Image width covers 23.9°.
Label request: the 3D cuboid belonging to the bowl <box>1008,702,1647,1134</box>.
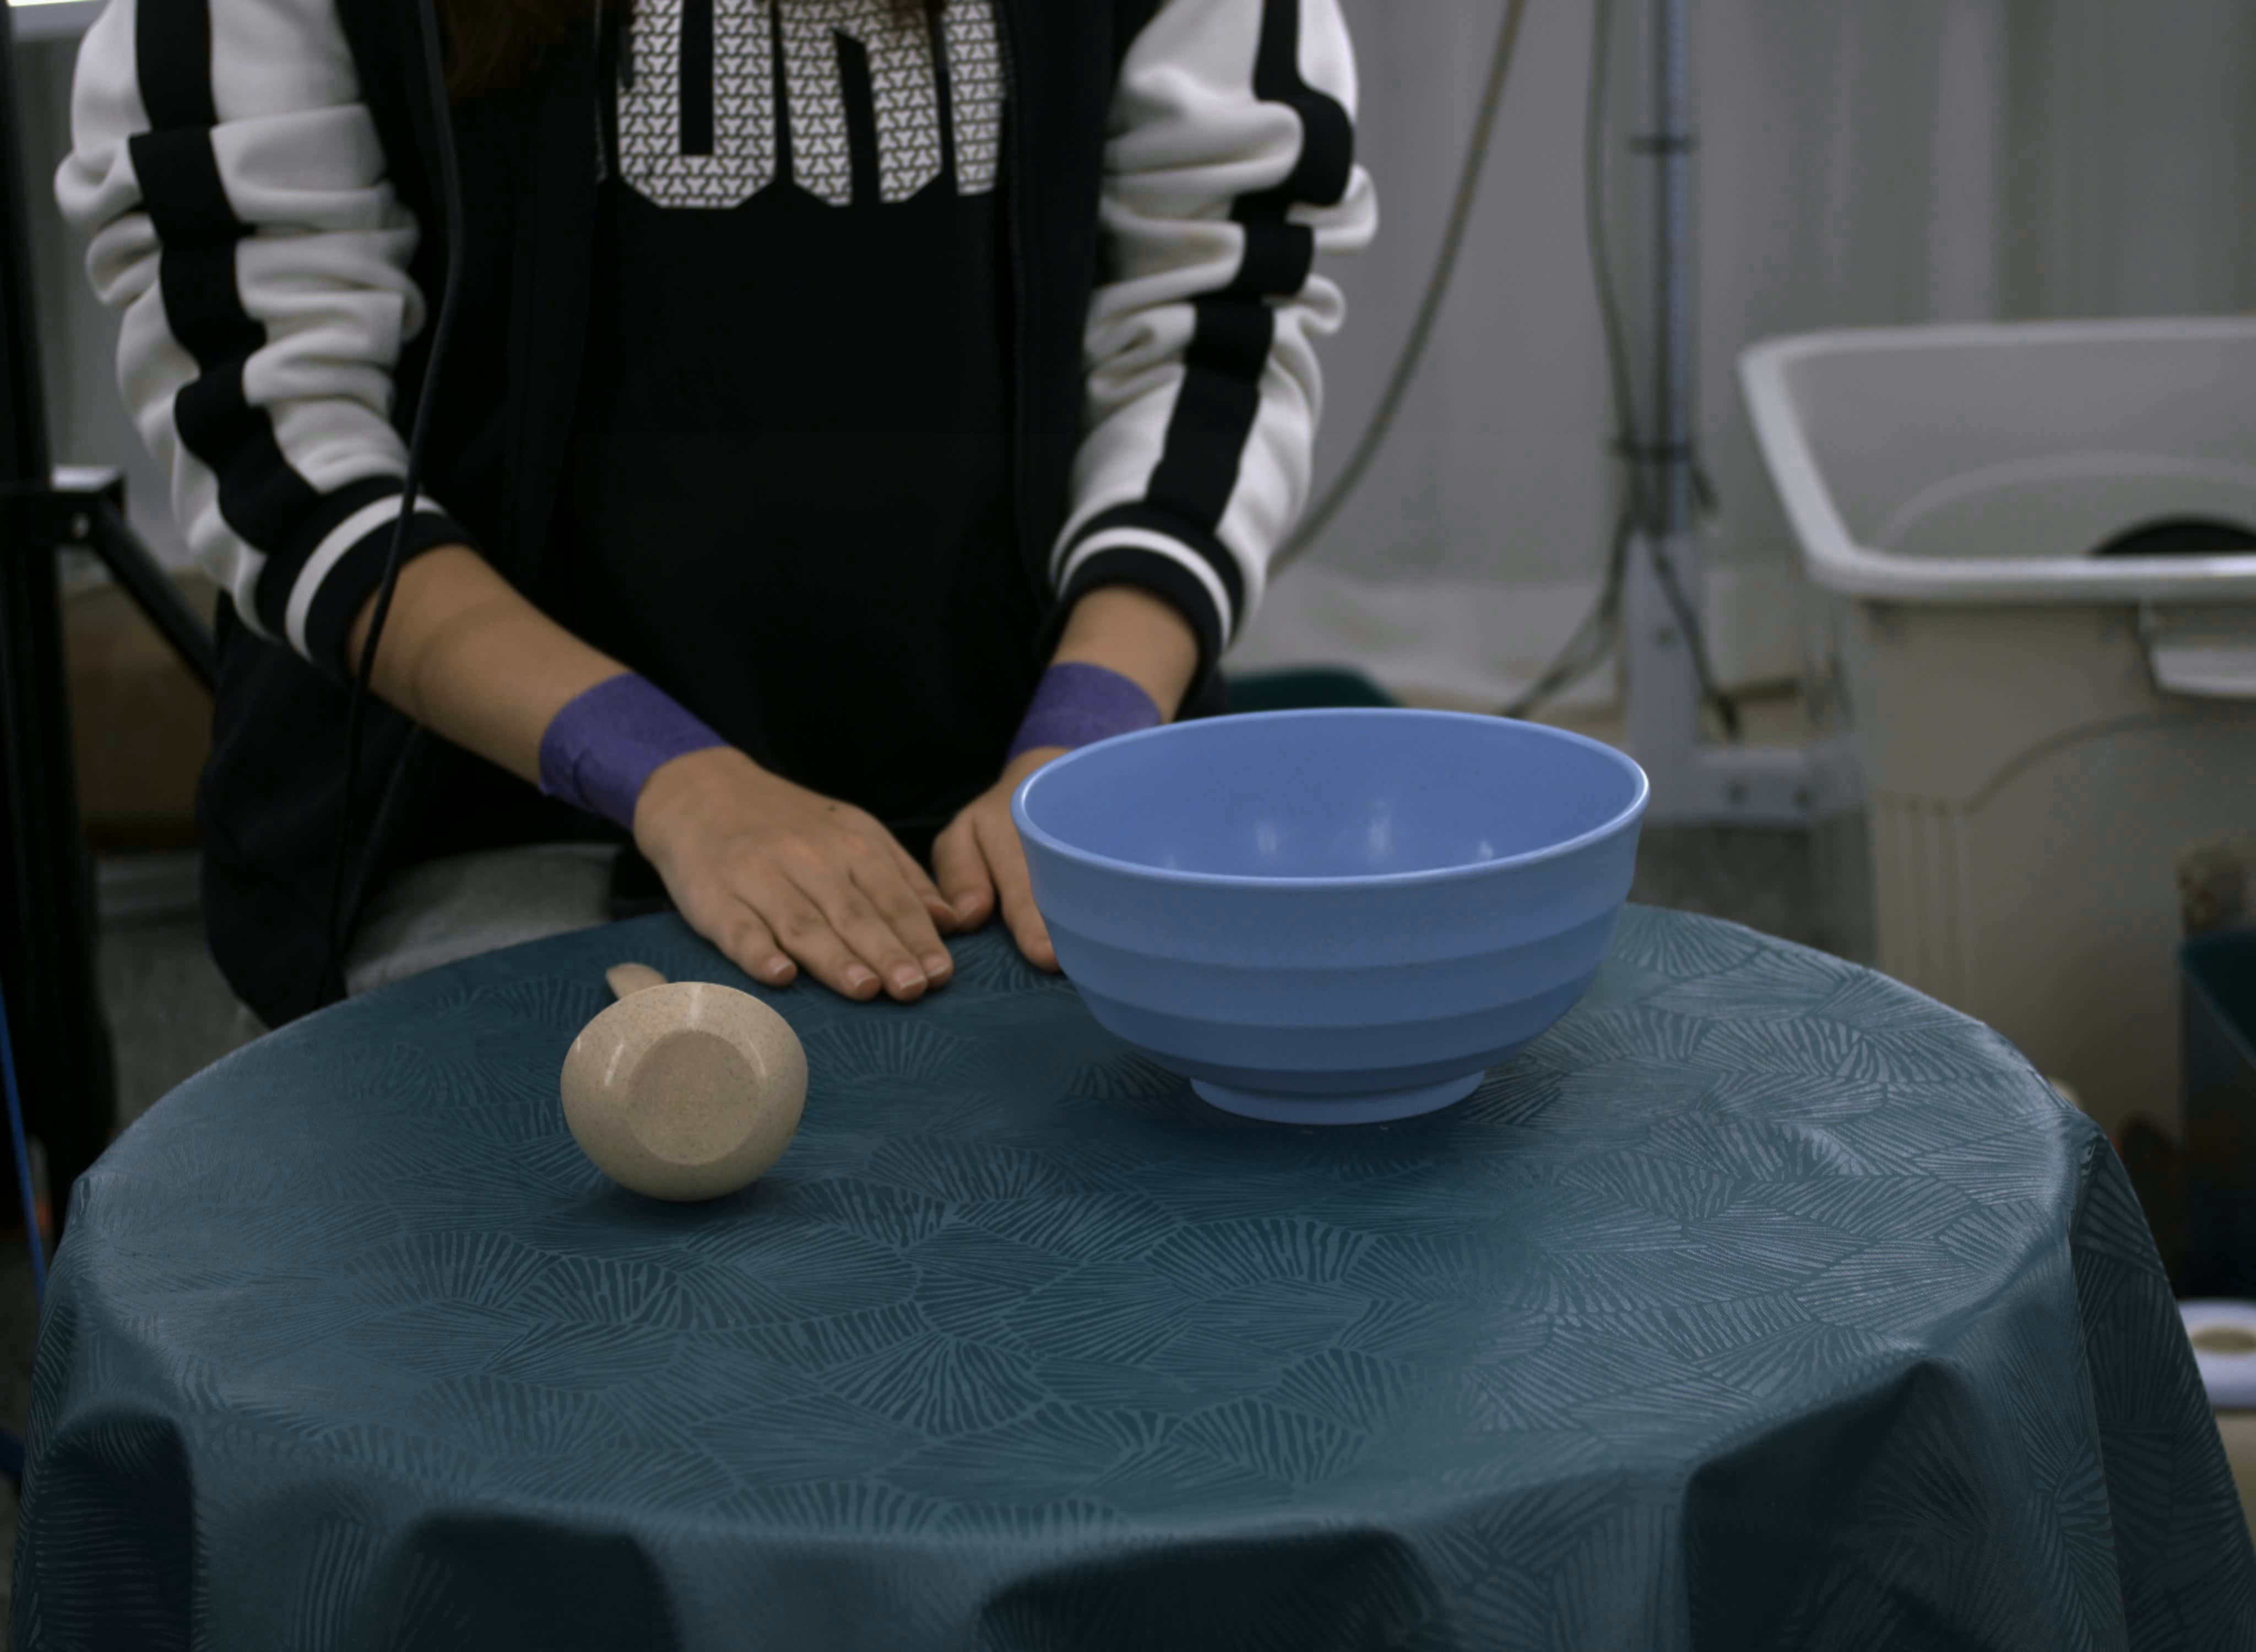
[{"bbox_3d":[0.064,0.035,1.638,0.195,0.095,0.197,-5,17,0],"label":"bowl"}]

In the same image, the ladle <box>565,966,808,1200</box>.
[{"bbox_3d":[-0.147,0.049,1.655,0.071,0.073,0.257,3,15,-11],"label":"ladle"}]
